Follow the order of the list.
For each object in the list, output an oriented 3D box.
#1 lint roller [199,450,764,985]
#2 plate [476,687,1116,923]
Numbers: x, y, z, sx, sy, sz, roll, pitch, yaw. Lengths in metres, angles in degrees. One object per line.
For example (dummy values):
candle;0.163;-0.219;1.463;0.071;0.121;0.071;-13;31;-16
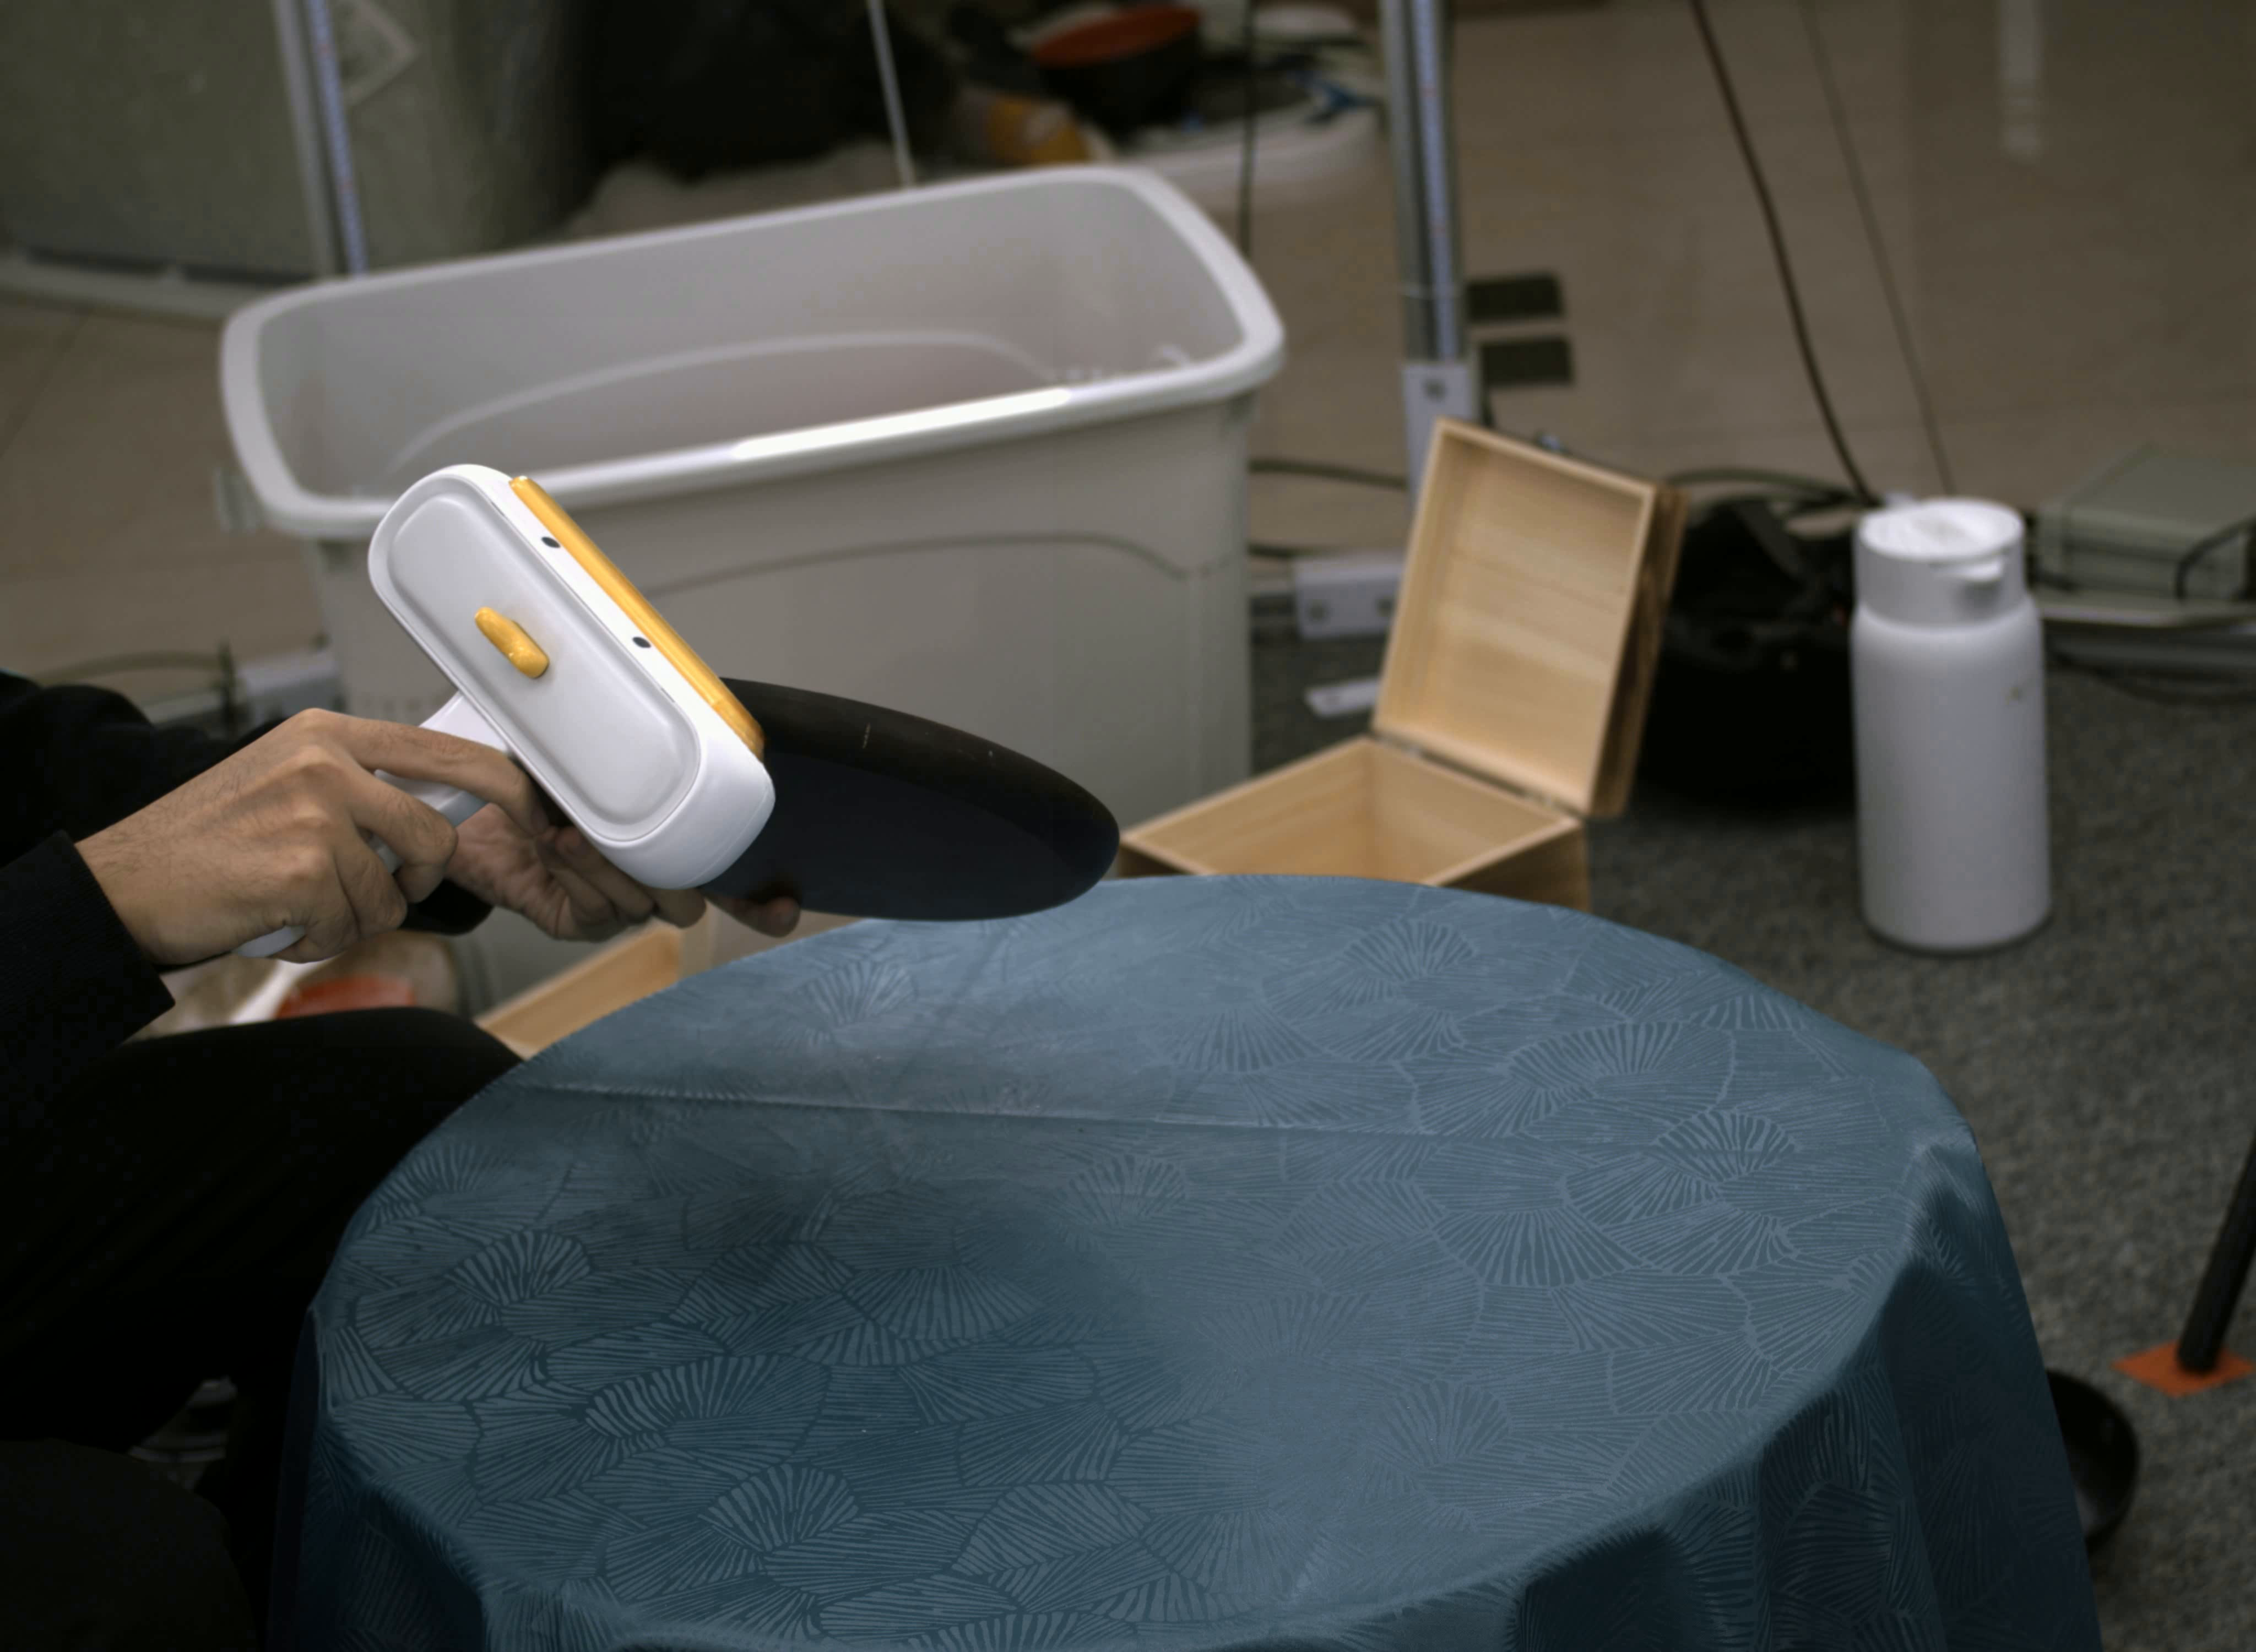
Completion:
lint roller;-0.247;-0.018;2.002;0.191;0.075;0.192;43;90;22
plate;-0.130;-0.007;2.137;0.254;0.029;0.257;8;-15;2
